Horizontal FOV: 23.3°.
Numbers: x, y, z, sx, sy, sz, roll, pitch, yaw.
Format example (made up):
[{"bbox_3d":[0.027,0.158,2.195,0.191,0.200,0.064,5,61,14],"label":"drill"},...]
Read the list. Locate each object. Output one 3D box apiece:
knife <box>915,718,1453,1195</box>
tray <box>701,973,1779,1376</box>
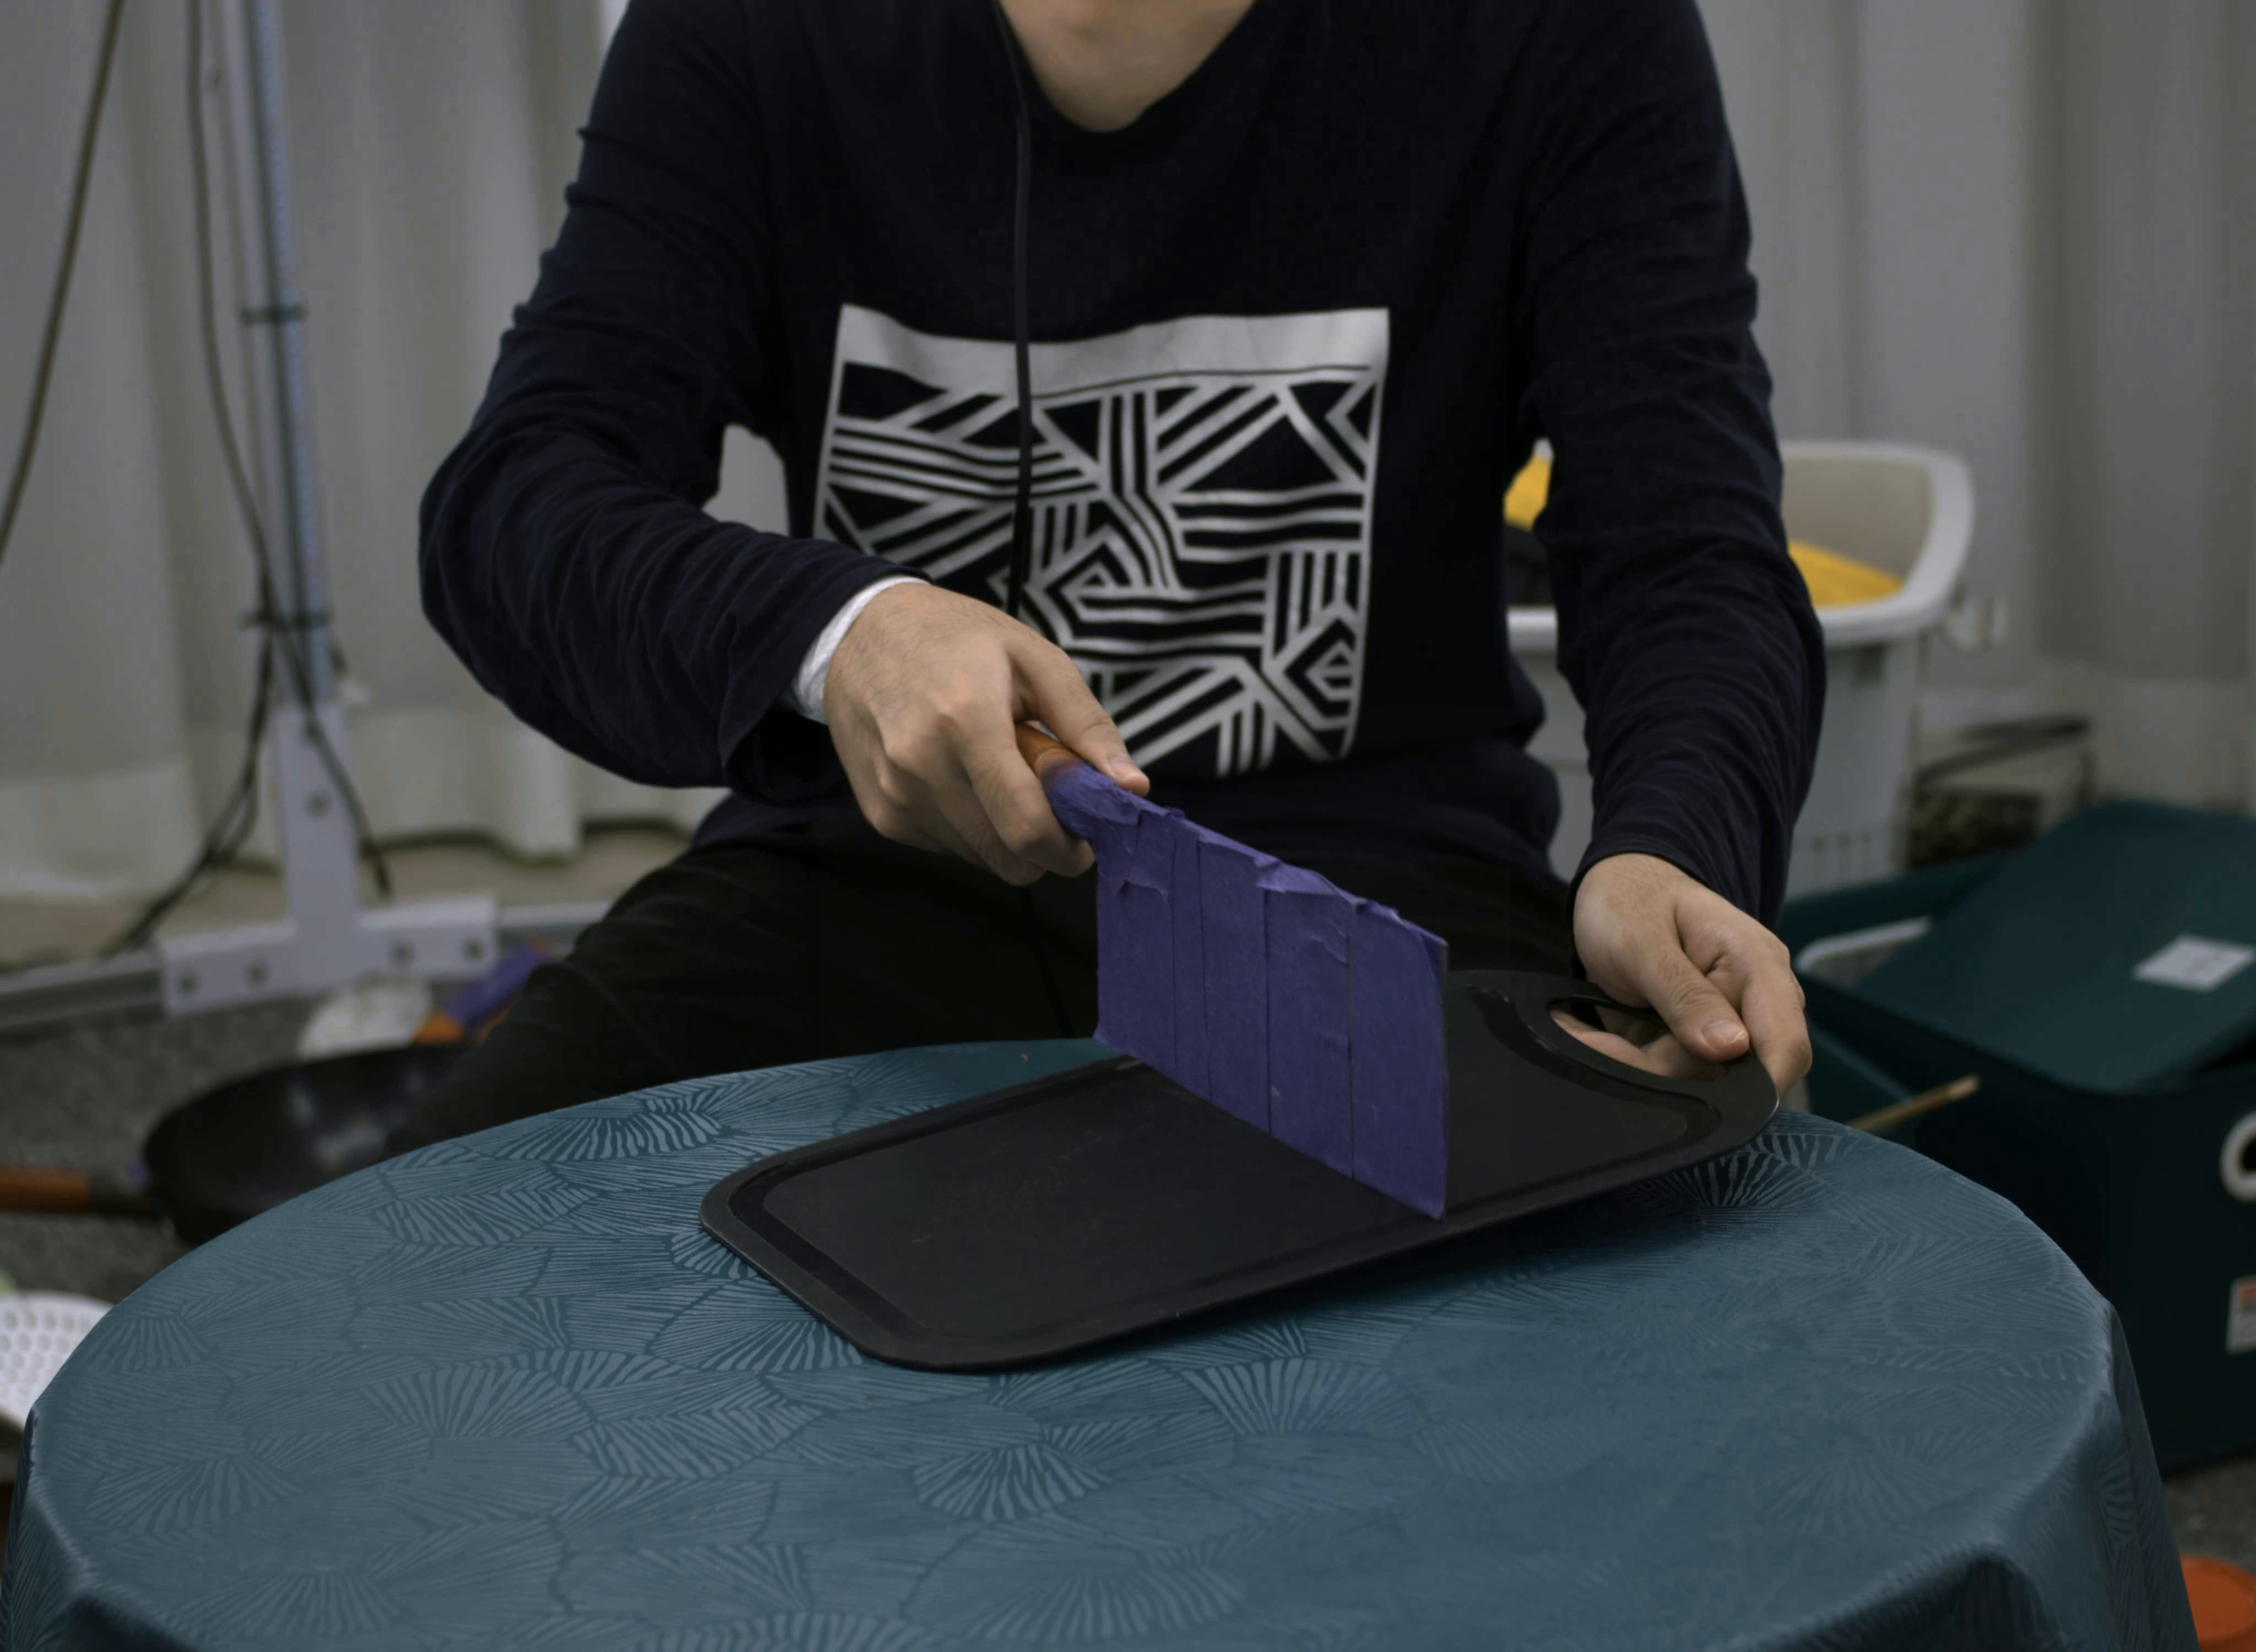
[{"bbox_3d":[0.013,0.040,1.738,0.032,0.103,0.318,-6,16,-28],"label":"knife"},{"bbox_3d":[0.040,0.100,1.703,0.324,0.010,0.213,-15,19,-22],"label":"tray"}]
